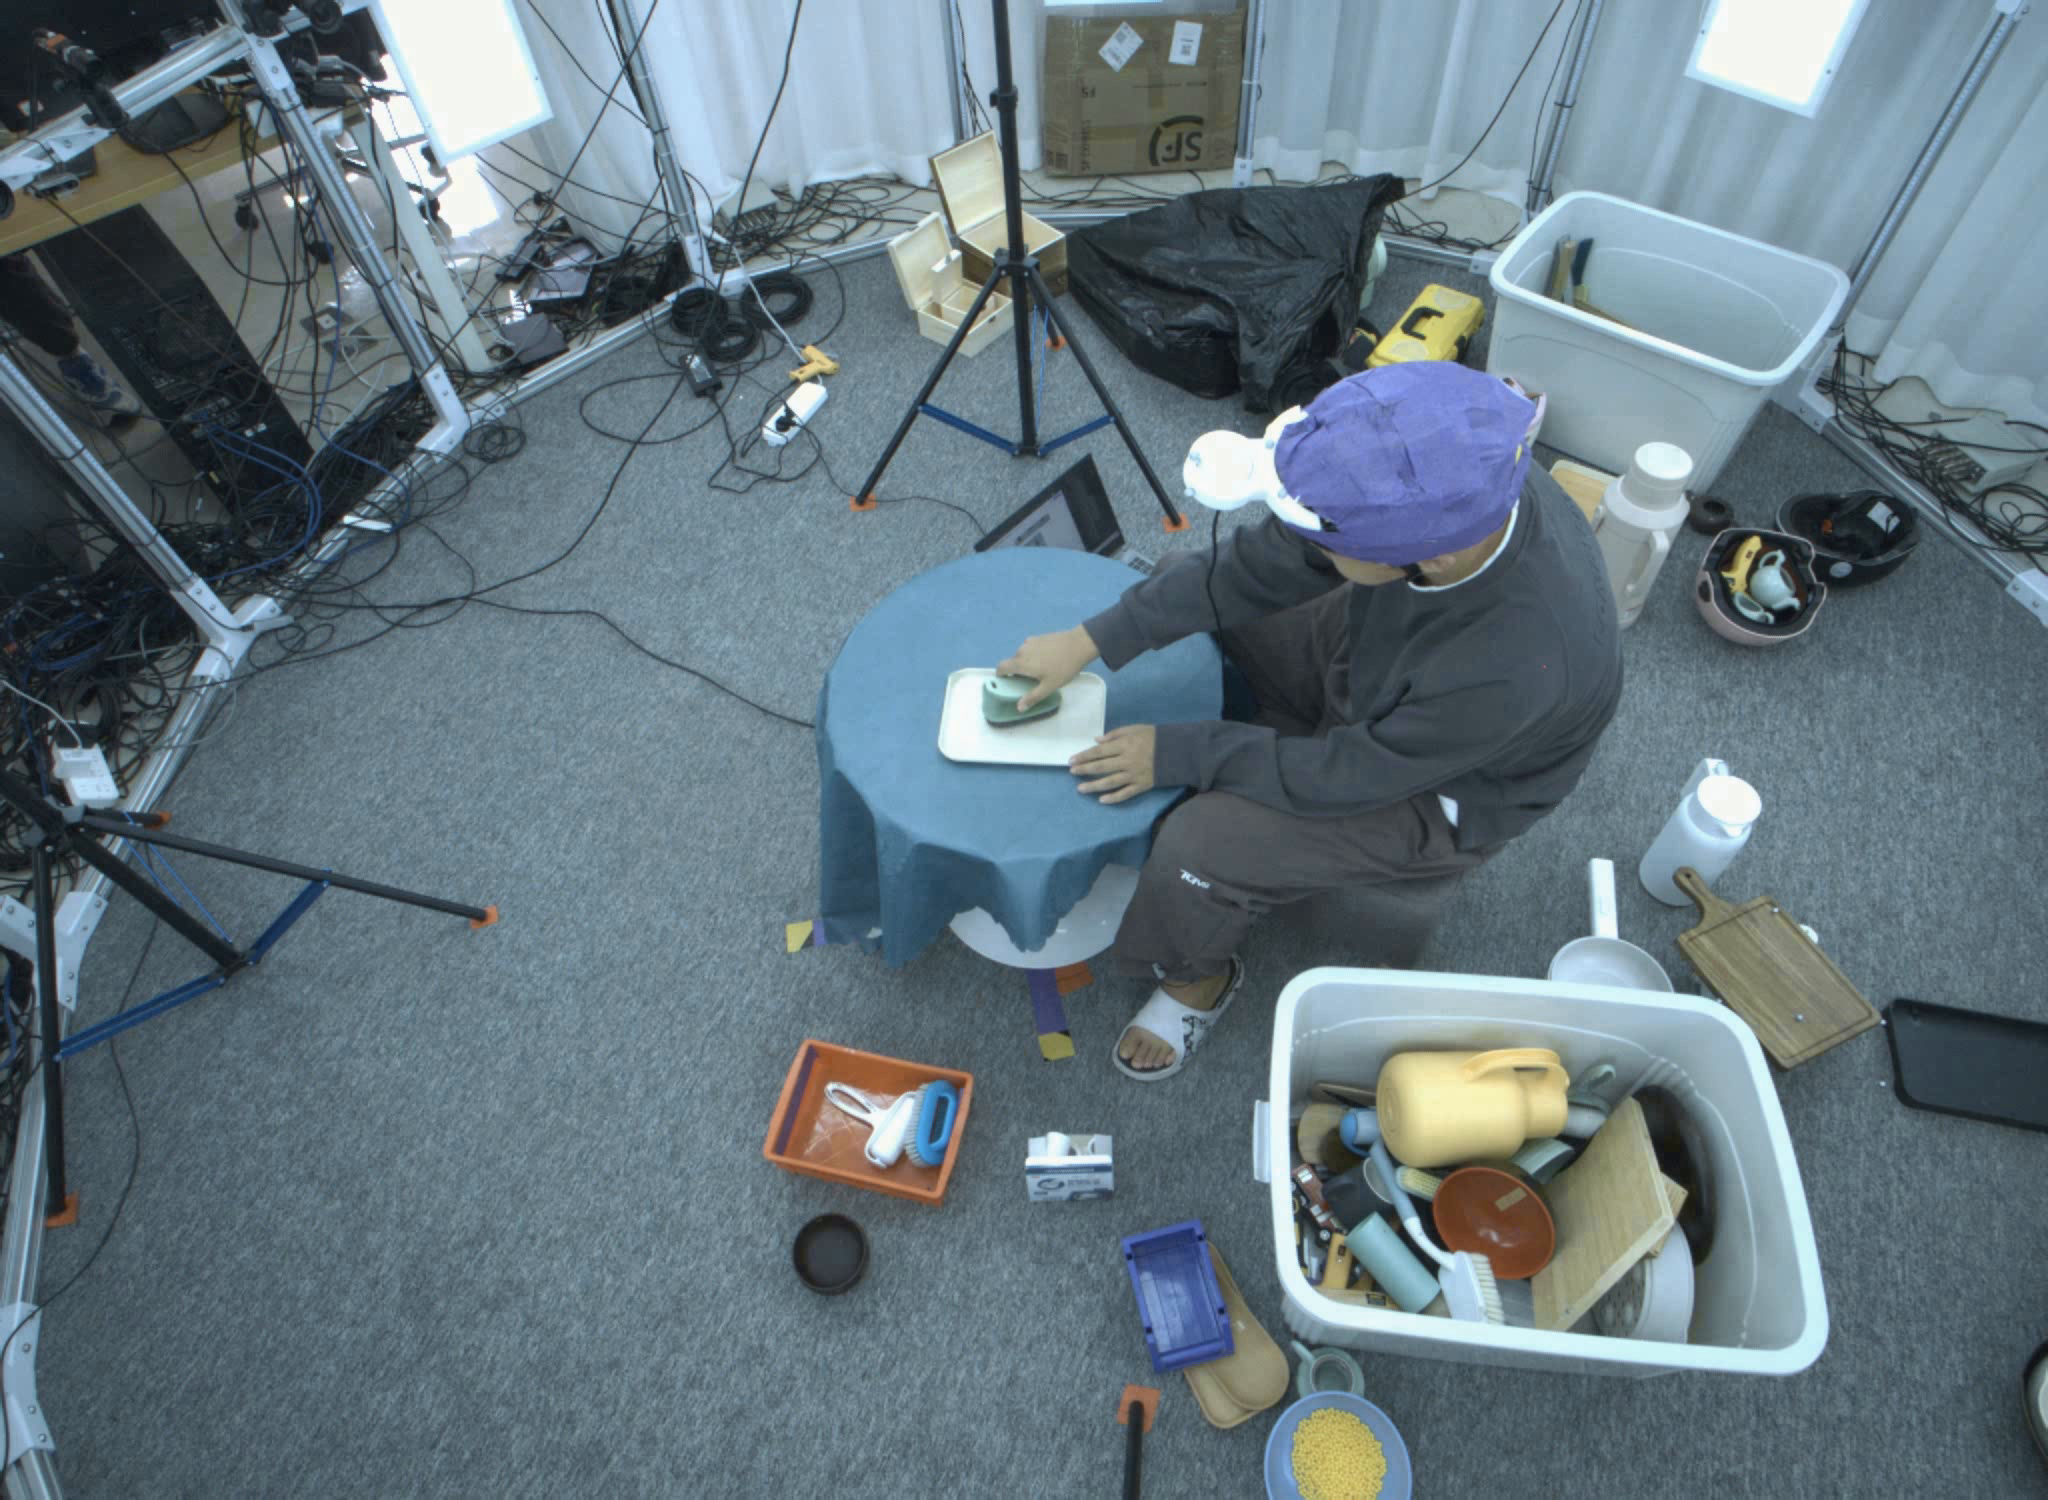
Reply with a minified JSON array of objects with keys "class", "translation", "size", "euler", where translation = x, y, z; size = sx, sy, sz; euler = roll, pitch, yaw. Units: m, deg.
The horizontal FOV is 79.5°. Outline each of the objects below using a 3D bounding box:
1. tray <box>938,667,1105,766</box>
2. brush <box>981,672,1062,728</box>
[{"class":"tray","translation":[-0.002,-0.049,1.811],"size":[0.239,0.017,0.170],"euler":[3,56,3]},{"class":"brush","translation":[-0.006,-0.075,1.798],"size":[0.125,0.076,0.058],"euler":[-6,49,-22]}]
